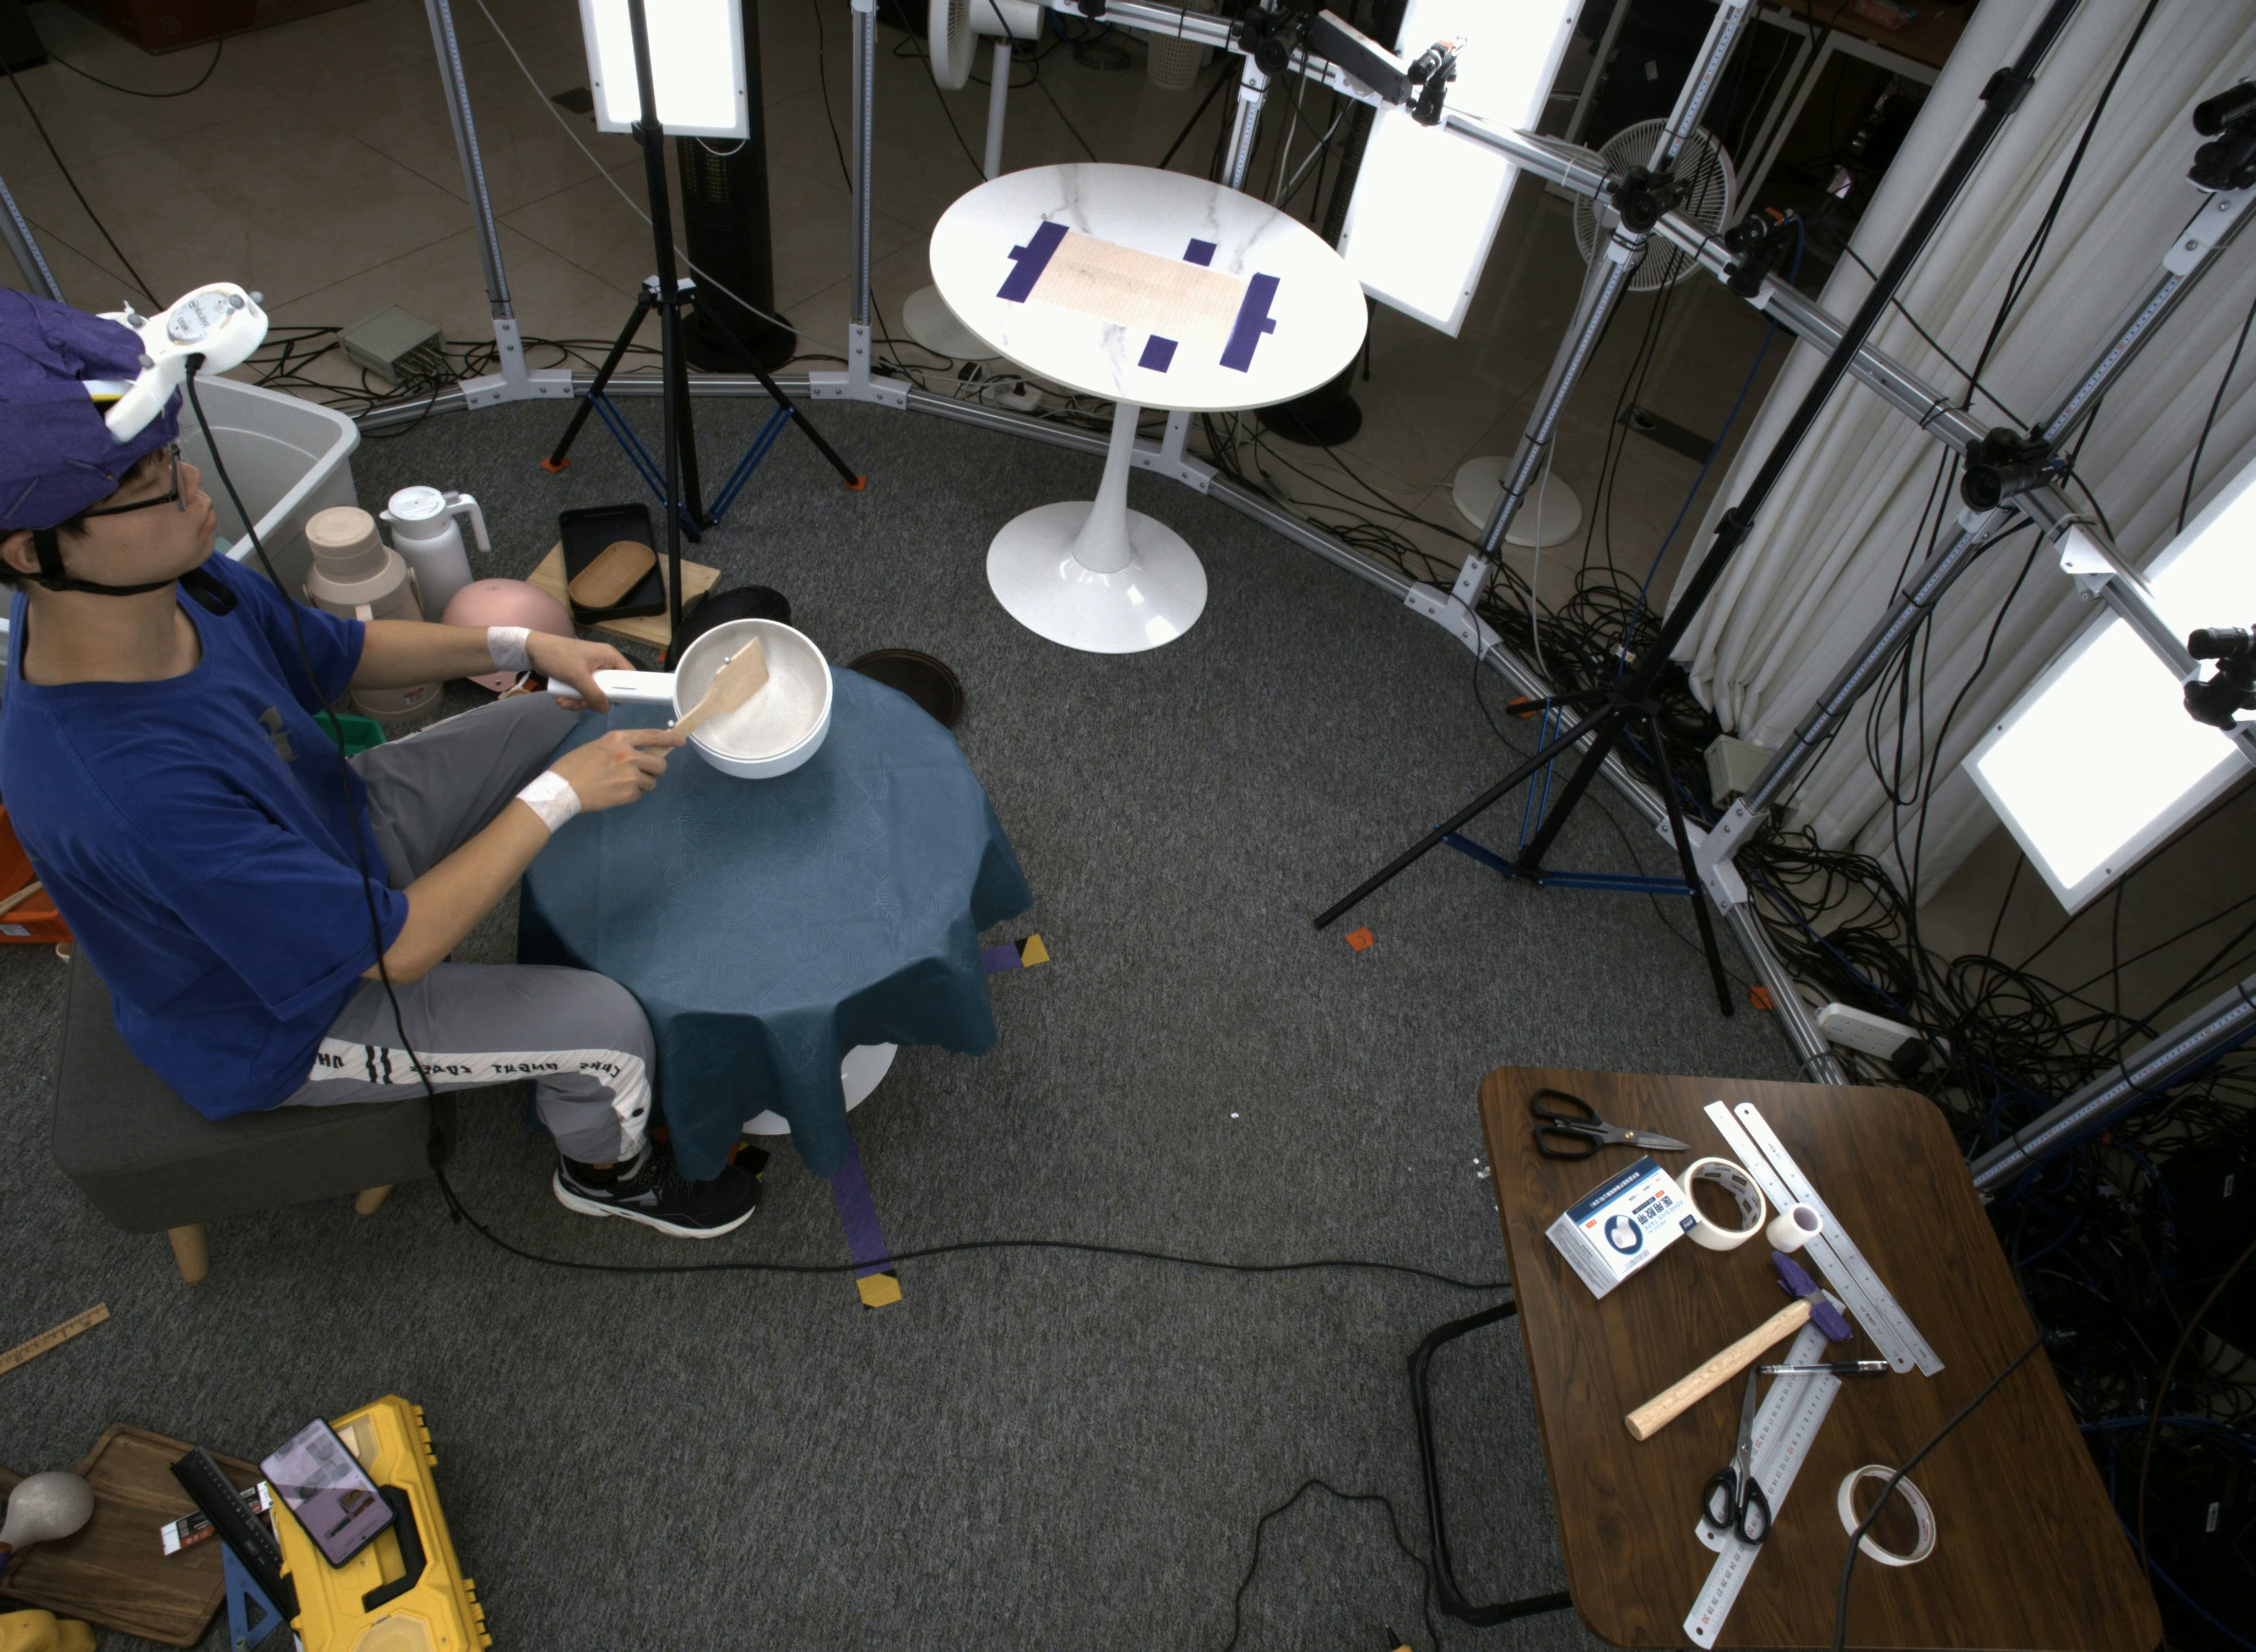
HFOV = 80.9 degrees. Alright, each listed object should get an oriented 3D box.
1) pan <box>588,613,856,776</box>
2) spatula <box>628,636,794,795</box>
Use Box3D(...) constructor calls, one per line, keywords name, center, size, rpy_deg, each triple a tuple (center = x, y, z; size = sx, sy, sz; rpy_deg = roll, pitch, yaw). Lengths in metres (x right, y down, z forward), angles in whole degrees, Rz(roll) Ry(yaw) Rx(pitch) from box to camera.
Box3D(name="pan", center=(-0.536, -0.172, 1.699), size=(0.355, 0.102, 0.201), rpy_deg=(3, 75, -12))
Box3D(name="spatula", center=(-0.518, -0.134, 1.605), size=(0.010, 0.075, 0.292), rpy_deg=(21, 48, 23))
